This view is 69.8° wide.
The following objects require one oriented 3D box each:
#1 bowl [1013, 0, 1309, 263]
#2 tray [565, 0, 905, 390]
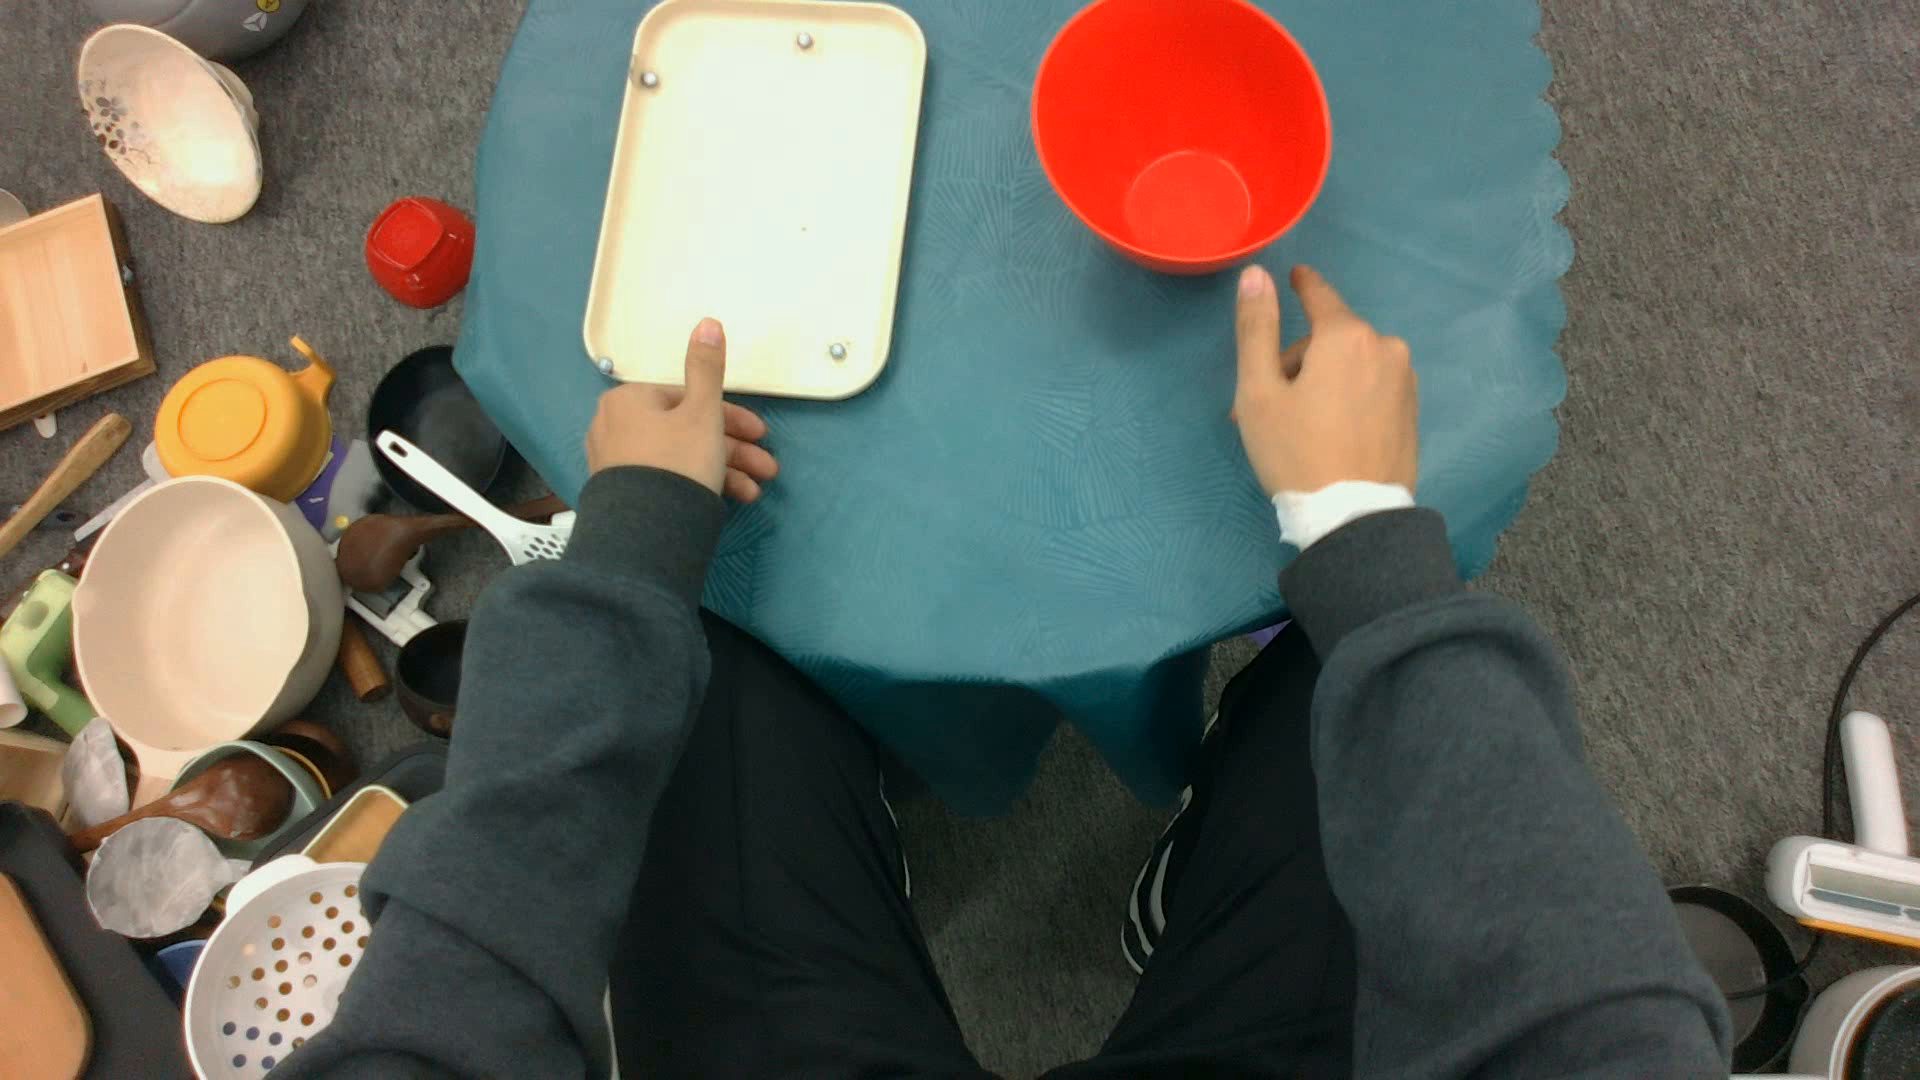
[{"bbox_3d":[0.103,-0.203,0.720,0.148,0.104,0.148,-1,76,3],"label":"bowl"},{"bbox_3d":[-0.123,-0.199,0.774,0.171,0.017,0.240,5,76,4],"label":"tray"}]
